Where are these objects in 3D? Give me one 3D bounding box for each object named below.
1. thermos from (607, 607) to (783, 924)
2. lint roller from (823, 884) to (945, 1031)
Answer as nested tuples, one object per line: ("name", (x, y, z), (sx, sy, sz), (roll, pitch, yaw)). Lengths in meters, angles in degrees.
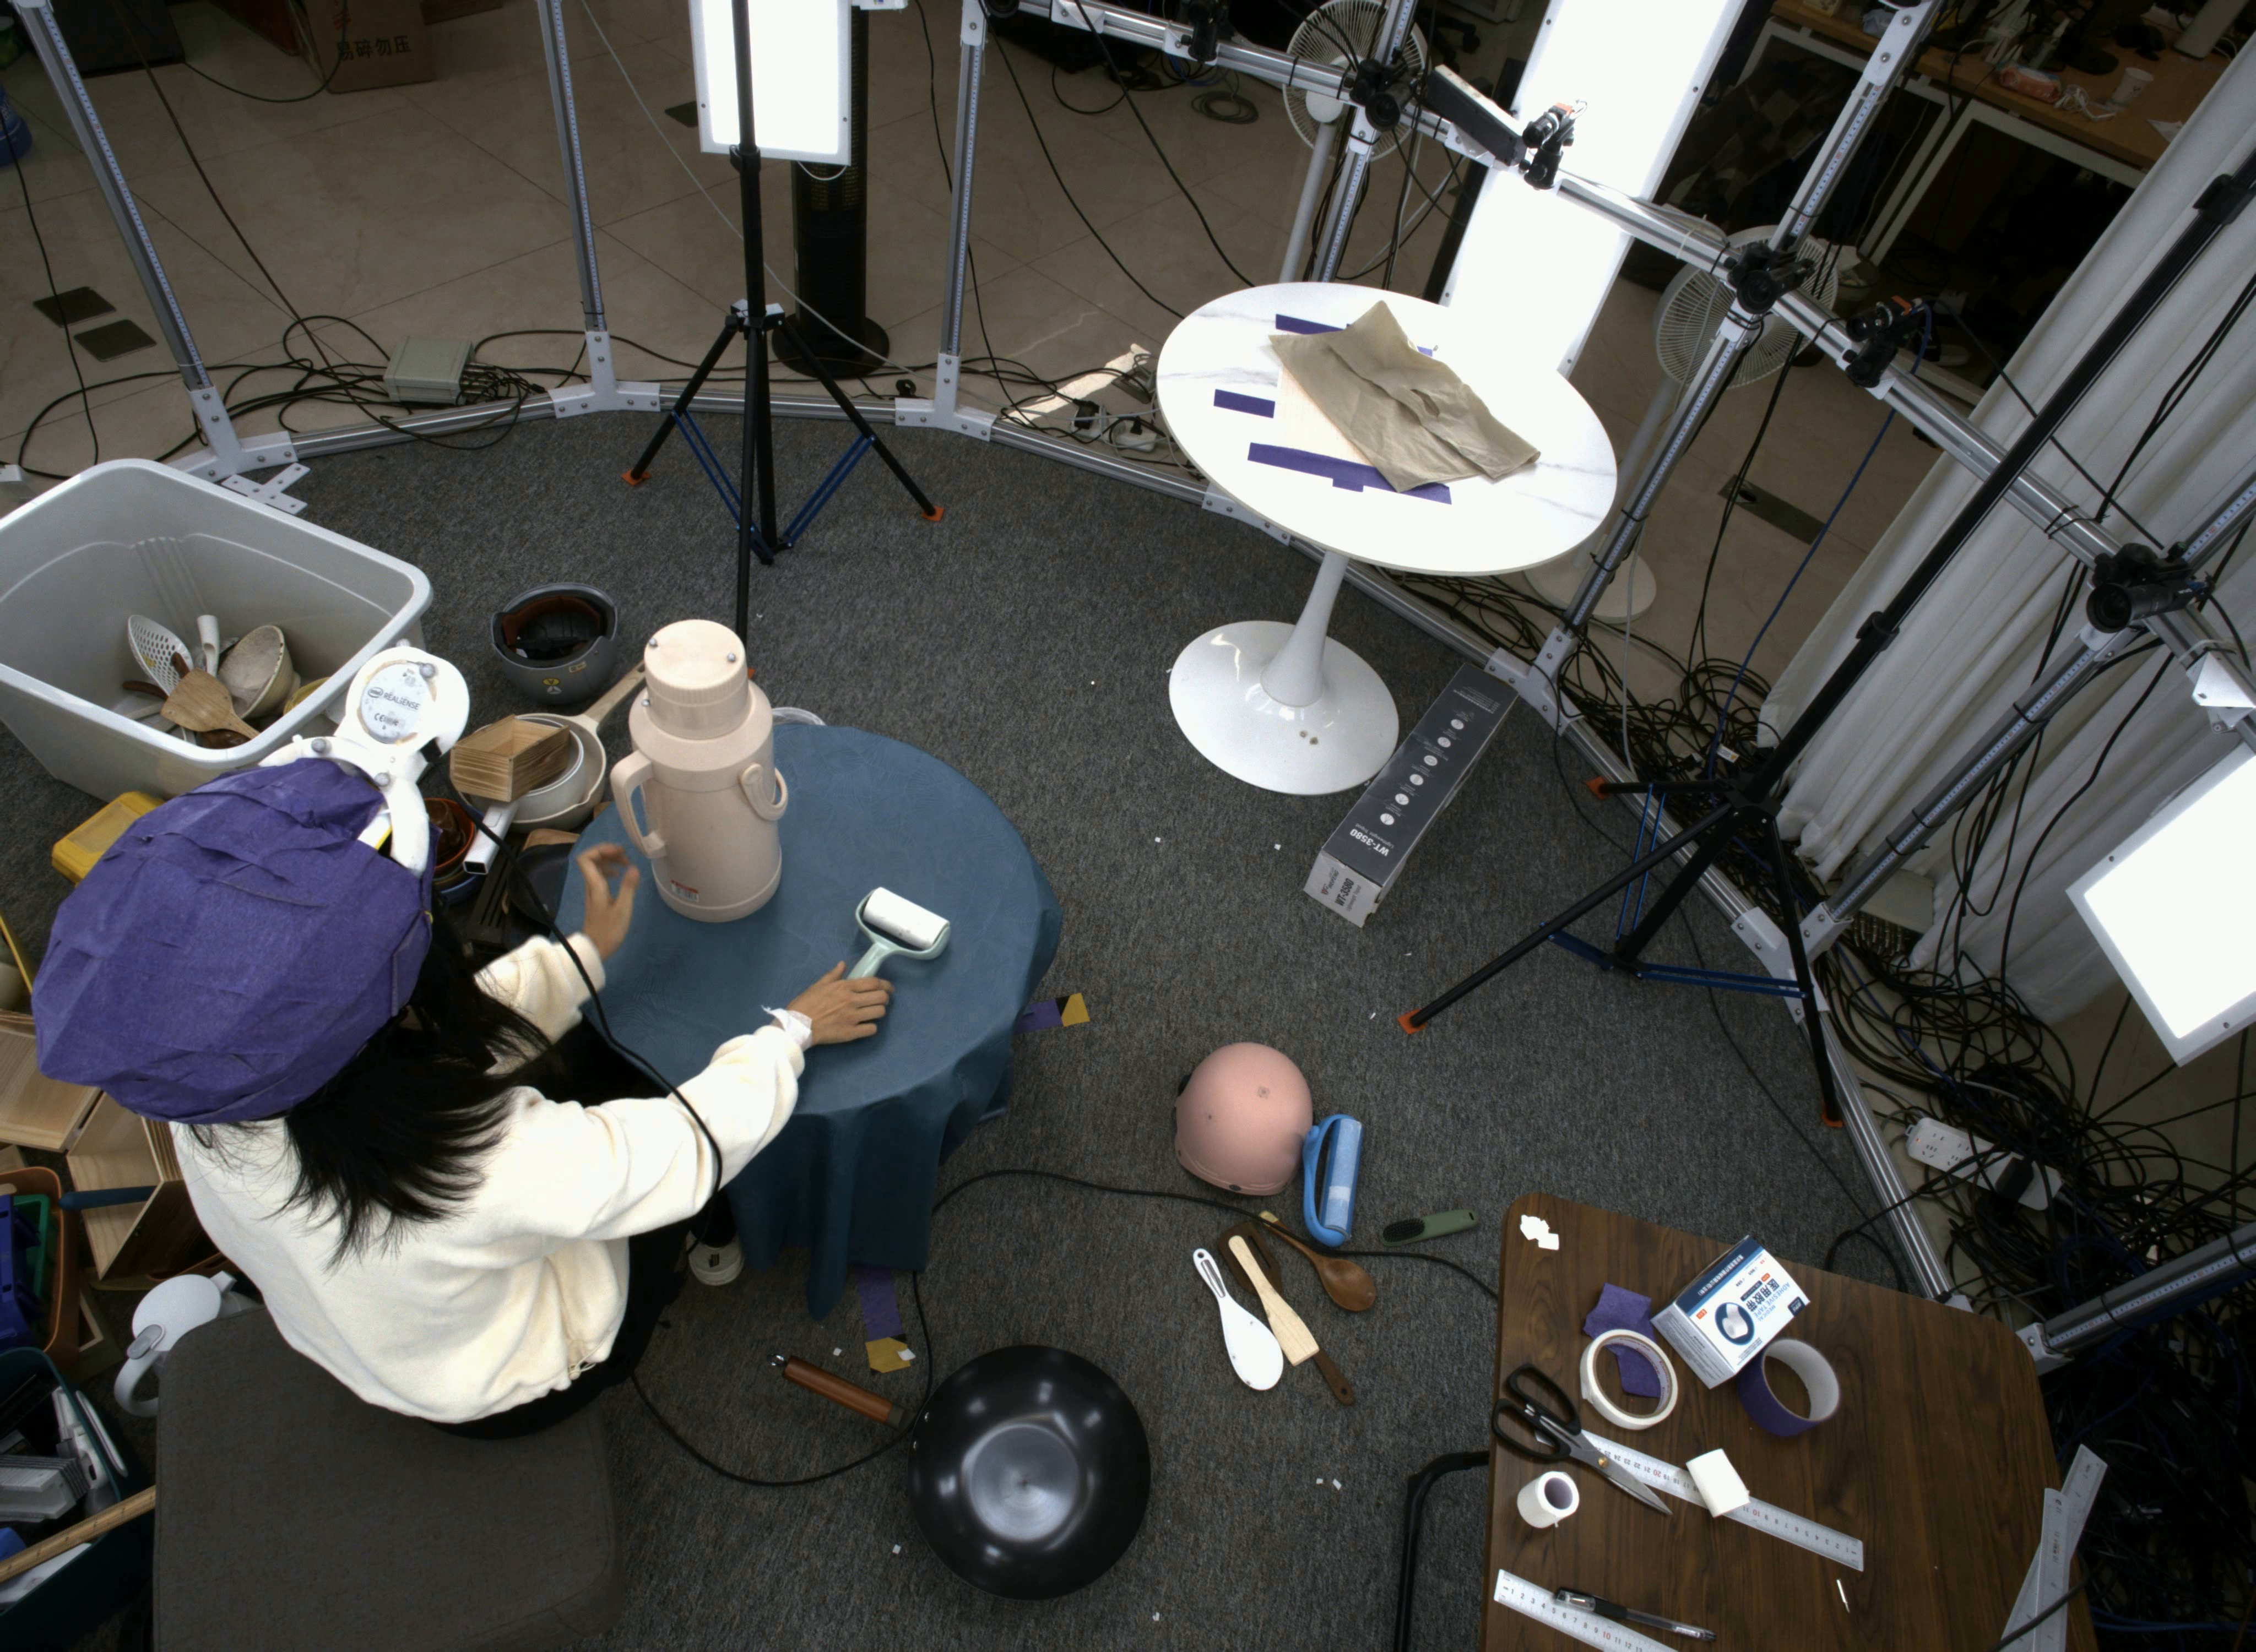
("thermos", (-0.502, -0.060, 1.486), (0.171, 0.415, 0.207), (37, 54, 17))
("lint roller", (-0.318, 0.162, 1.594), (0.115, 0.049, 0.196), (28, 51, 5))
